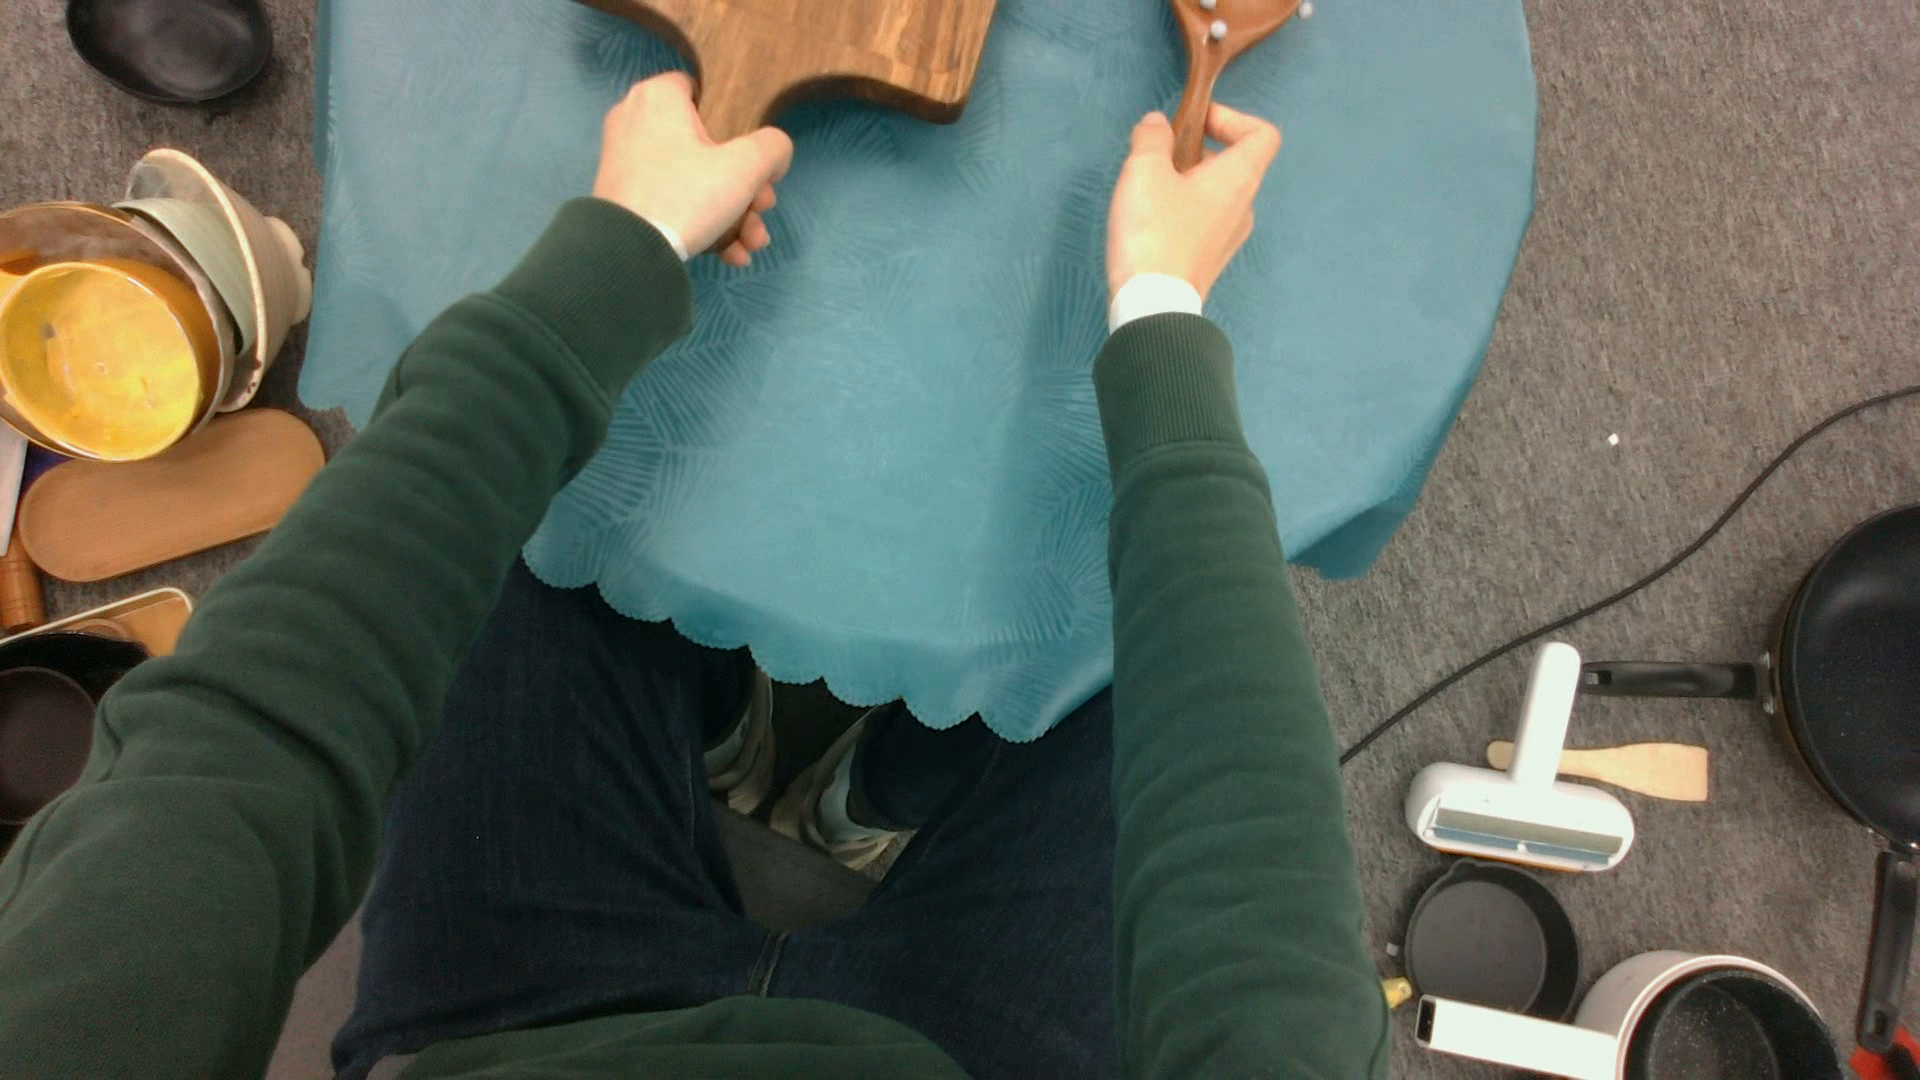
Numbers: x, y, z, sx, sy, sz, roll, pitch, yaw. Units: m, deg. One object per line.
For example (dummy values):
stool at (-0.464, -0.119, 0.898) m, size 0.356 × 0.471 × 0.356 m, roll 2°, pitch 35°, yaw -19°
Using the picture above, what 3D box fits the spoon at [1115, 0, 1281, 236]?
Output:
spoon at (0.109, -0.230, 0.664) m, size 0.075 × 0.017 × 0.217 m, roll 20°, pitch 62°, yaw -4°

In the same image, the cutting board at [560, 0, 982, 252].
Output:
cutting board at (-0.084, -0.292, 0.648) m, size 0.201 × 0.023 × 0.353 m, roll 16°, pitch 71°, yaw -8°
